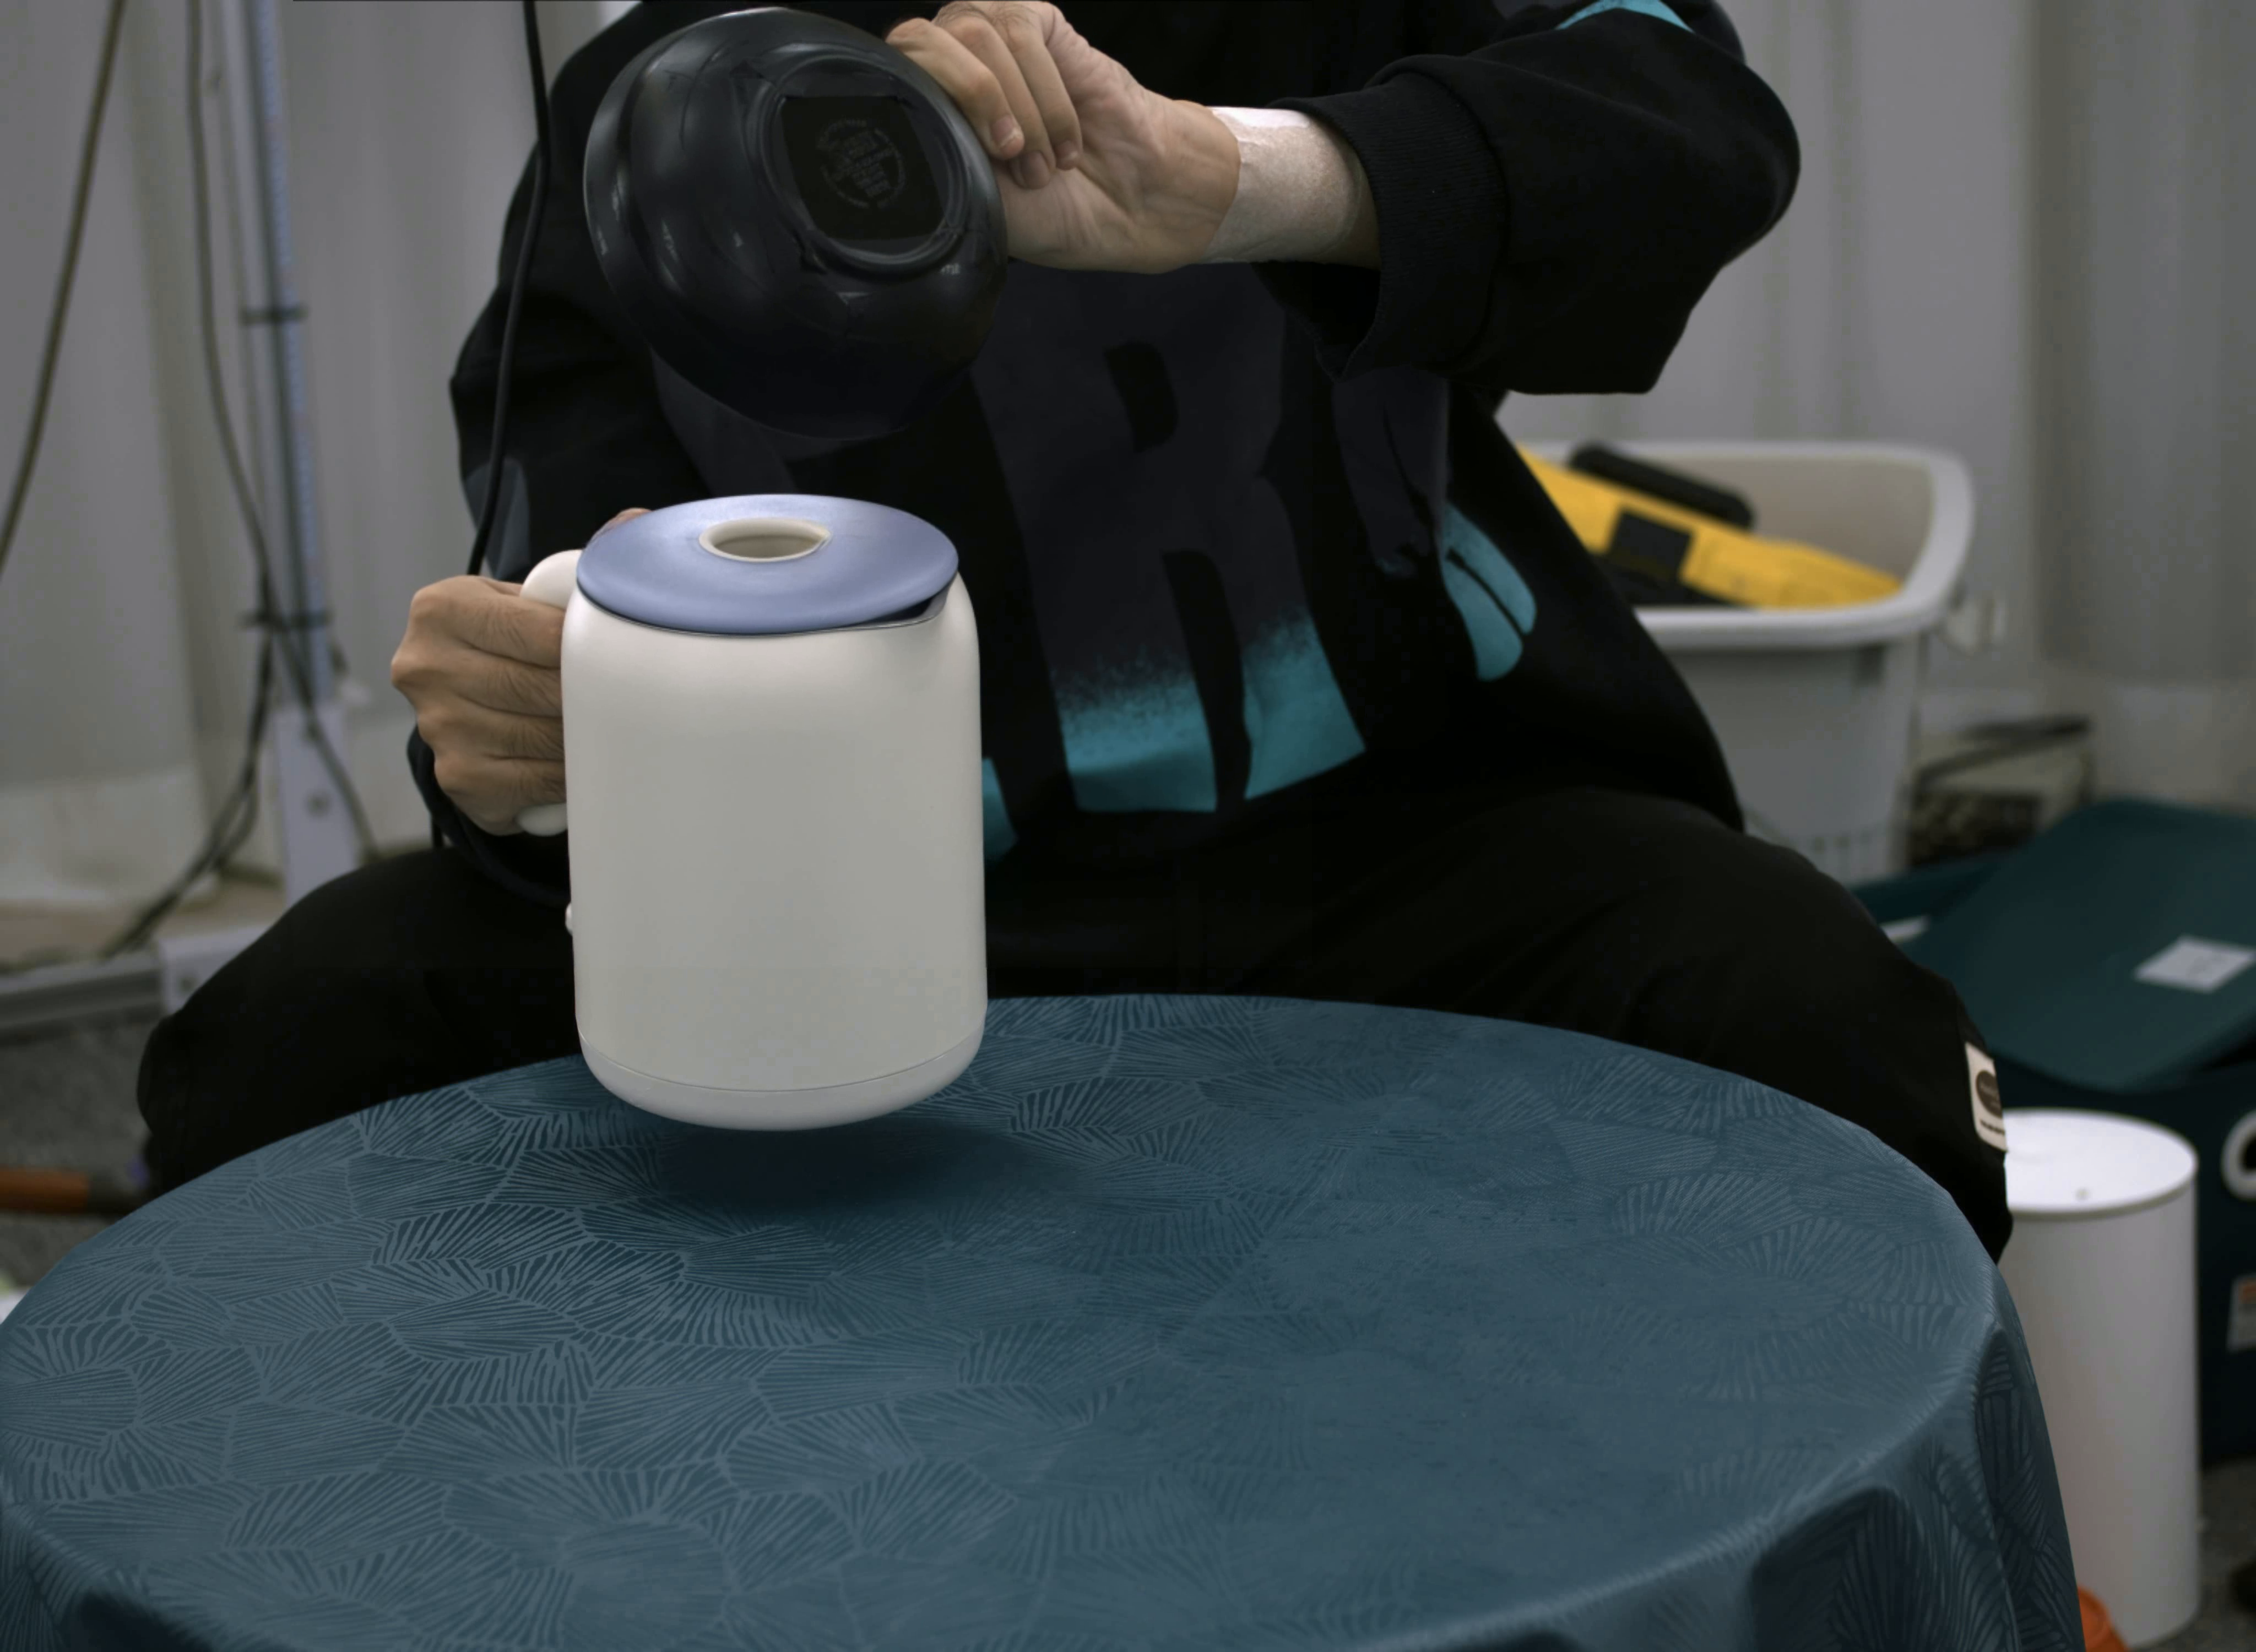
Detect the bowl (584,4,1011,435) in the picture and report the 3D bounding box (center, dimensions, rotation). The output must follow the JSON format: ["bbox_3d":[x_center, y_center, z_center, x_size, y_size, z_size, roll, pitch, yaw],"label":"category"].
[{"bbox_3d":[-0.090,-0.190,1.636,0.139,0.141,0.049,-13,-15,-35],"label":"bowl"}]

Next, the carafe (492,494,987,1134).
[{"bbox_3d":[-0.130,-0.010,1.736,0.192,0.181,0.132,13,23,38],"label":"carafe"}]
